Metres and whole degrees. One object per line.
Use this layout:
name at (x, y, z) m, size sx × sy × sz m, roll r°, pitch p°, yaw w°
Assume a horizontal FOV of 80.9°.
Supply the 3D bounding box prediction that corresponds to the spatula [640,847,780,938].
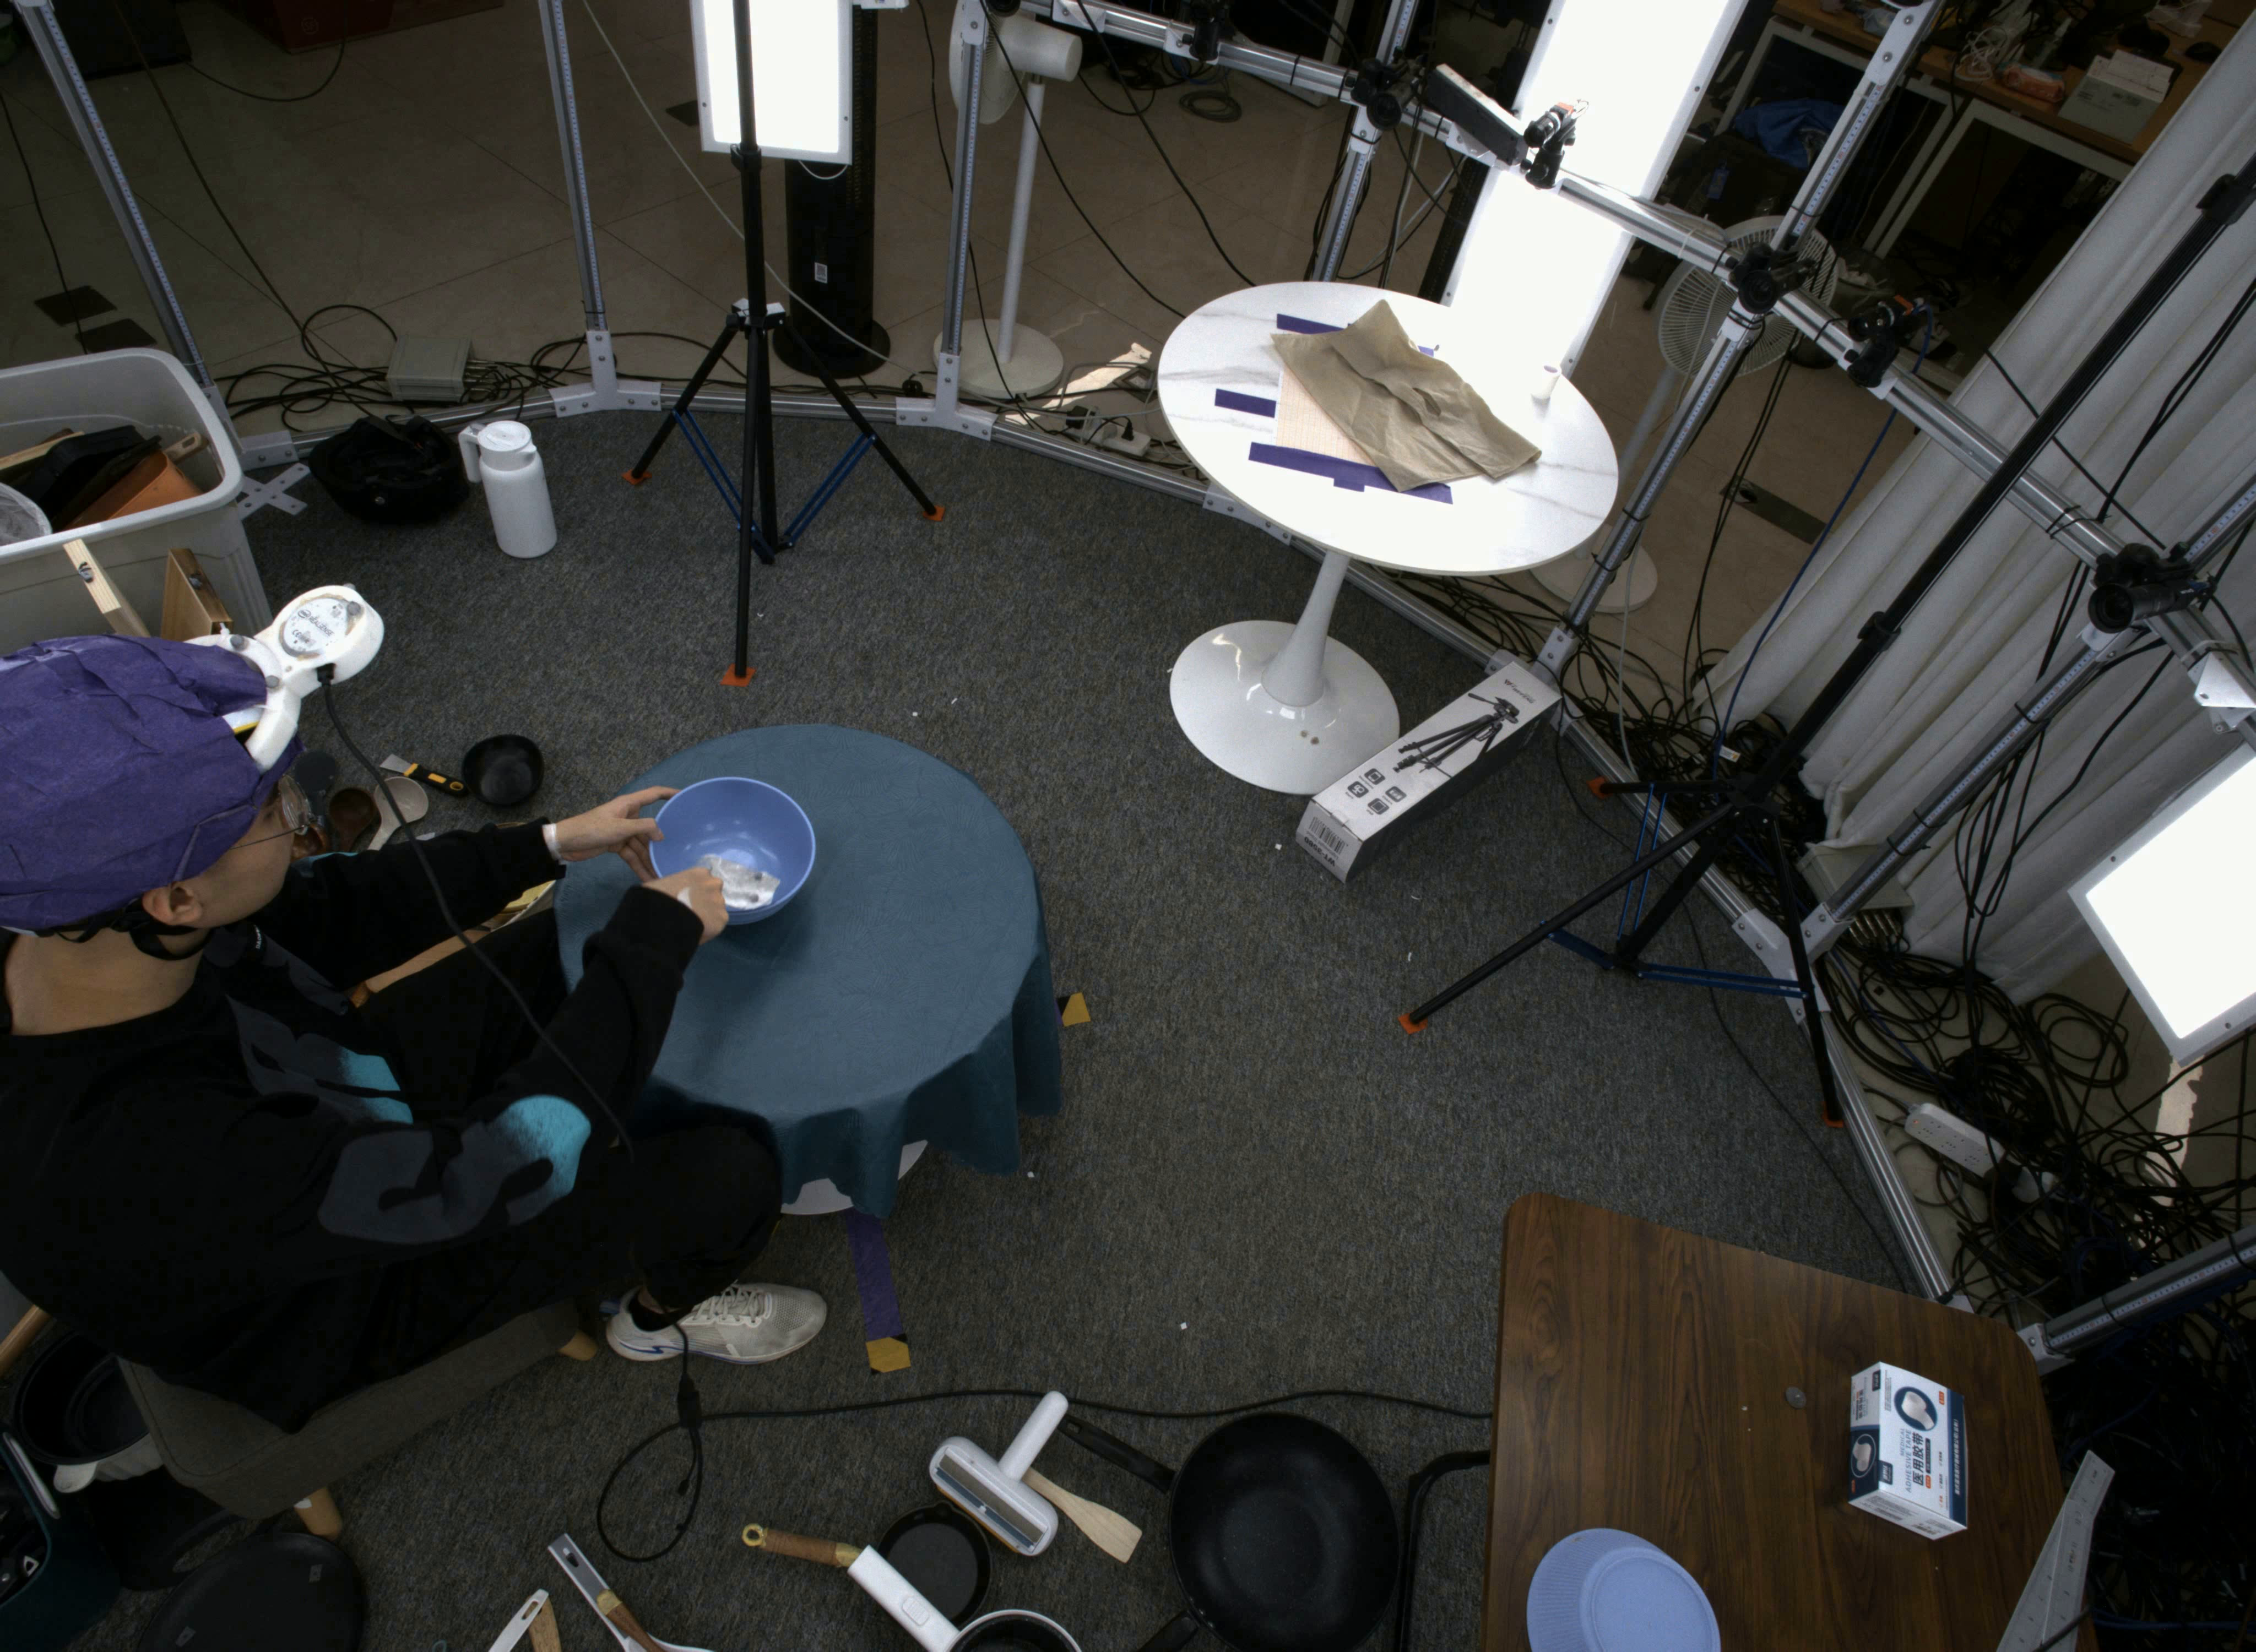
spatula at (-0.455, 0.071, 1.383) m, size 0.099 × 0.361 × 0.045 m, roll 22°, pitch 93°, yaw -6°

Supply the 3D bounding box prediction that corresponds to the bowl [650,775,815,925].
bowl at (-0.492, 0.044, 1.604) m, size 0.197 × 0.096 × 0.193 m, roll 11°, pitch 55°, yaw -15°
